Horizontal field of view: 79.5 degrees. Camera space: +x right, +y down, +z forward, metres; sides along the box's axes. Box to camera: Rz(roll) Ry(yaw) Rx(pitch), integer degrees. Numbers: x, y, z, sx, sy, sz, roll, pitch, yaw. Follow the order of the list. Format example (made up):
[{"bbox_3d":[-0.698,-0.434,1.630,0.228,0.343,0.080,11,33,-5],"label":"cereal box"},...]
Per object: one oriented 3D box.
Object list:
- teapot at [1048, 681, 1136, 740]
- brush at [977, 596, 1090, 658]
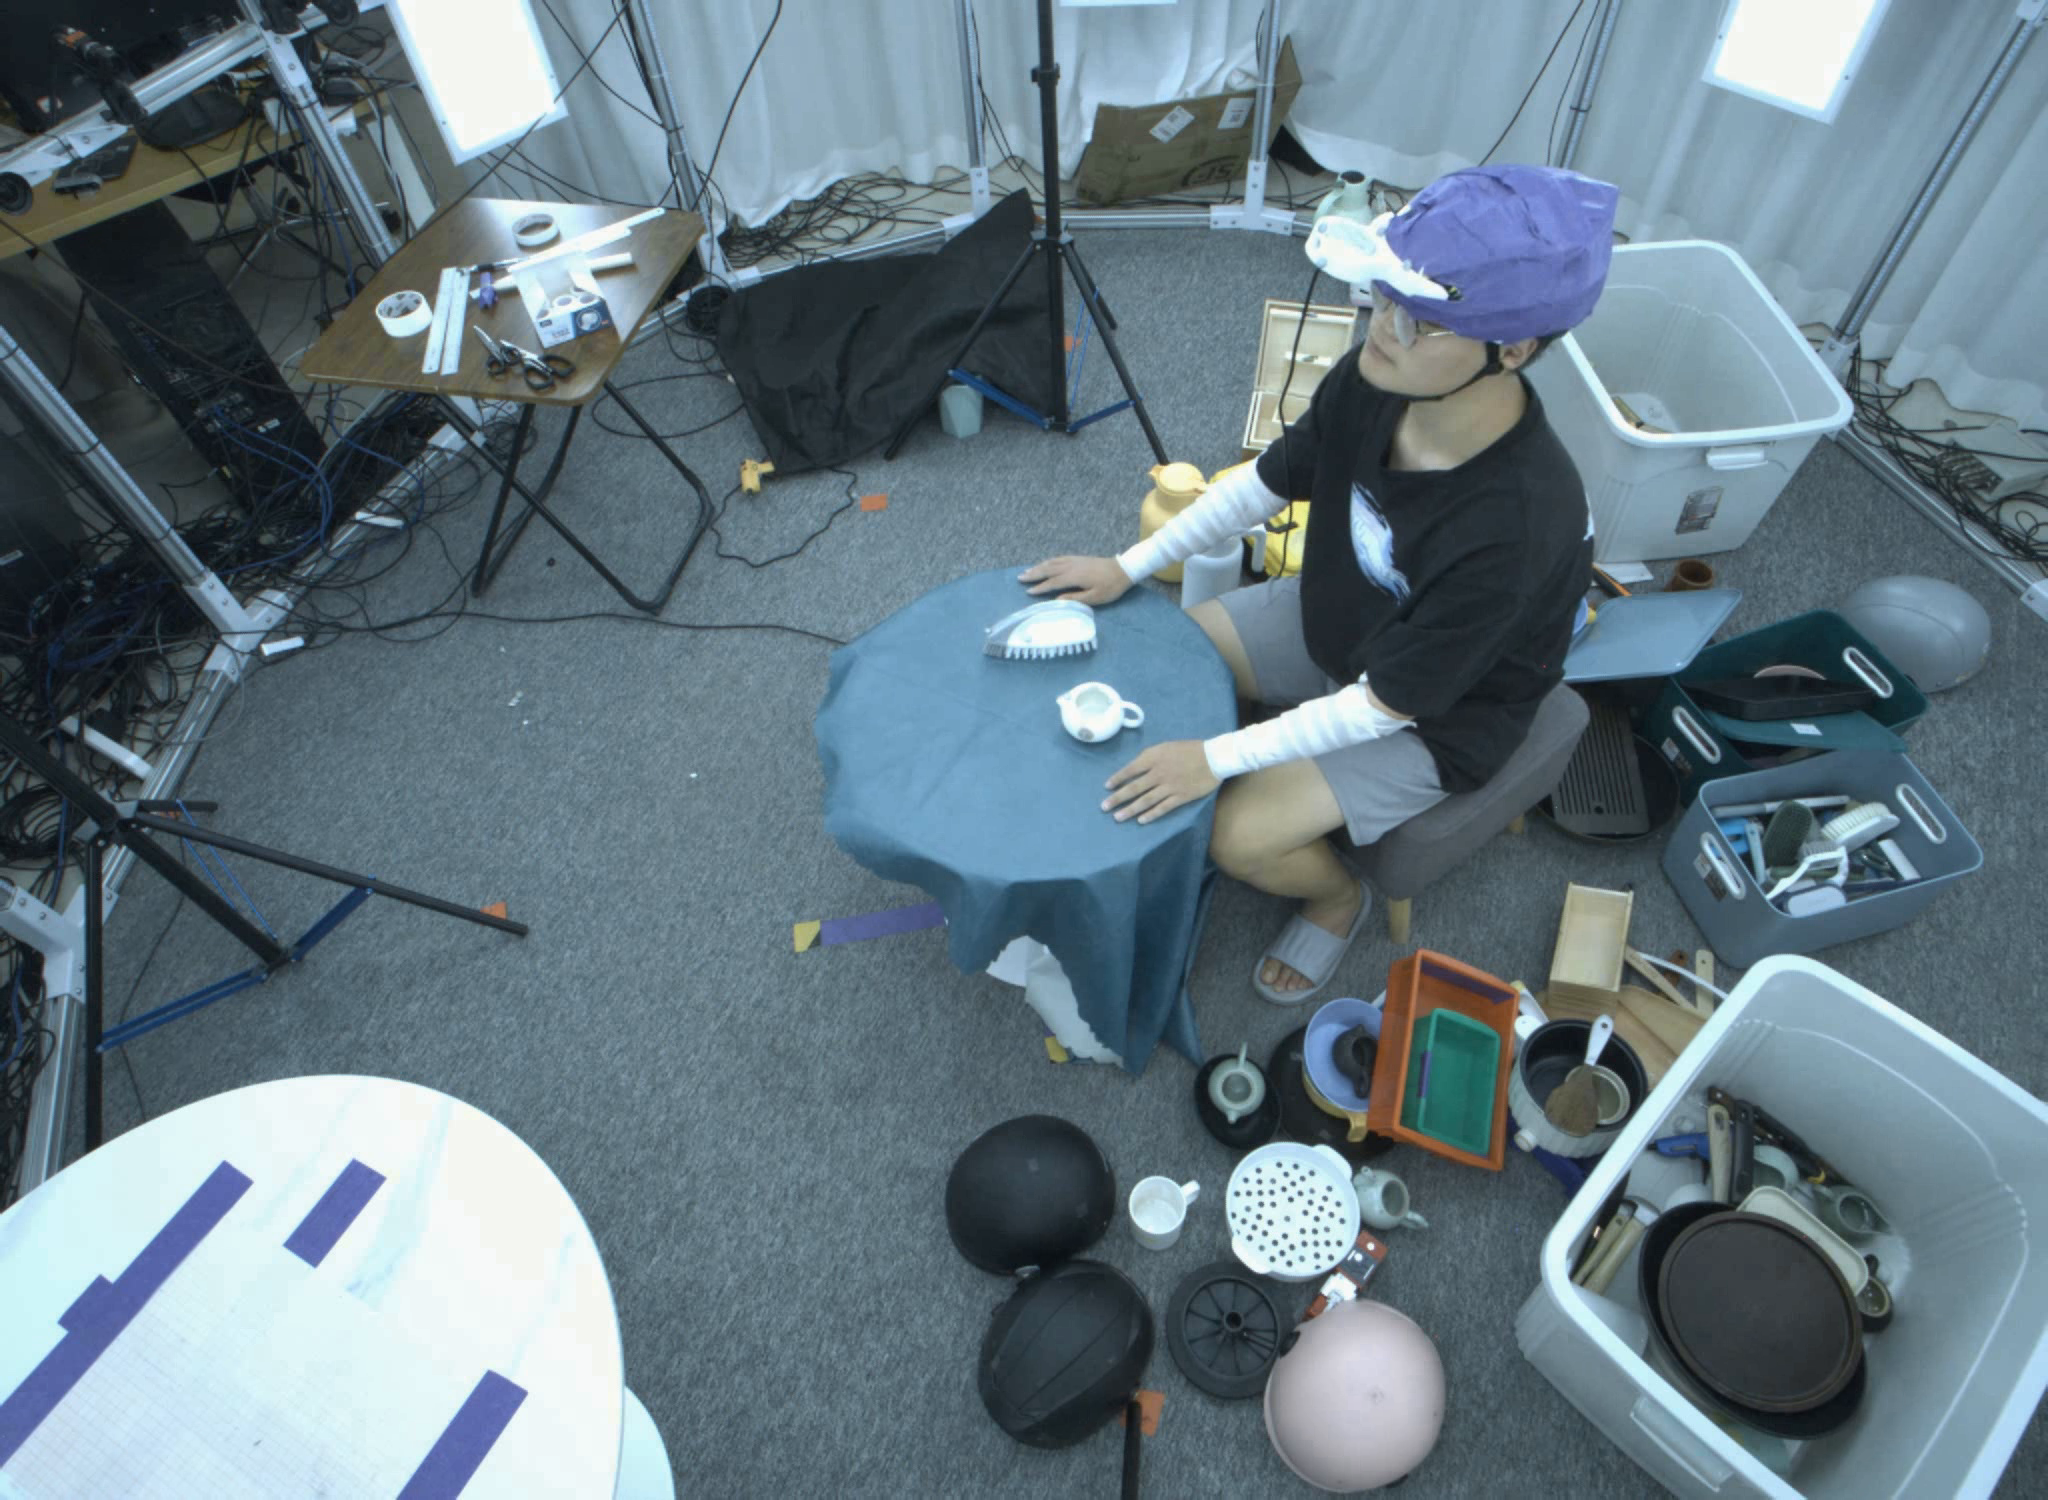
[{"bbox_3d":[0.098,-0.056,1.782,0.127,0.057,0.092,3,51,4],"label":"teapot"},{"bbox_3d":[0.011,-0.187,1.856,0.176,0.095,0.060,-9,51,-2],"label":"brush"}]
